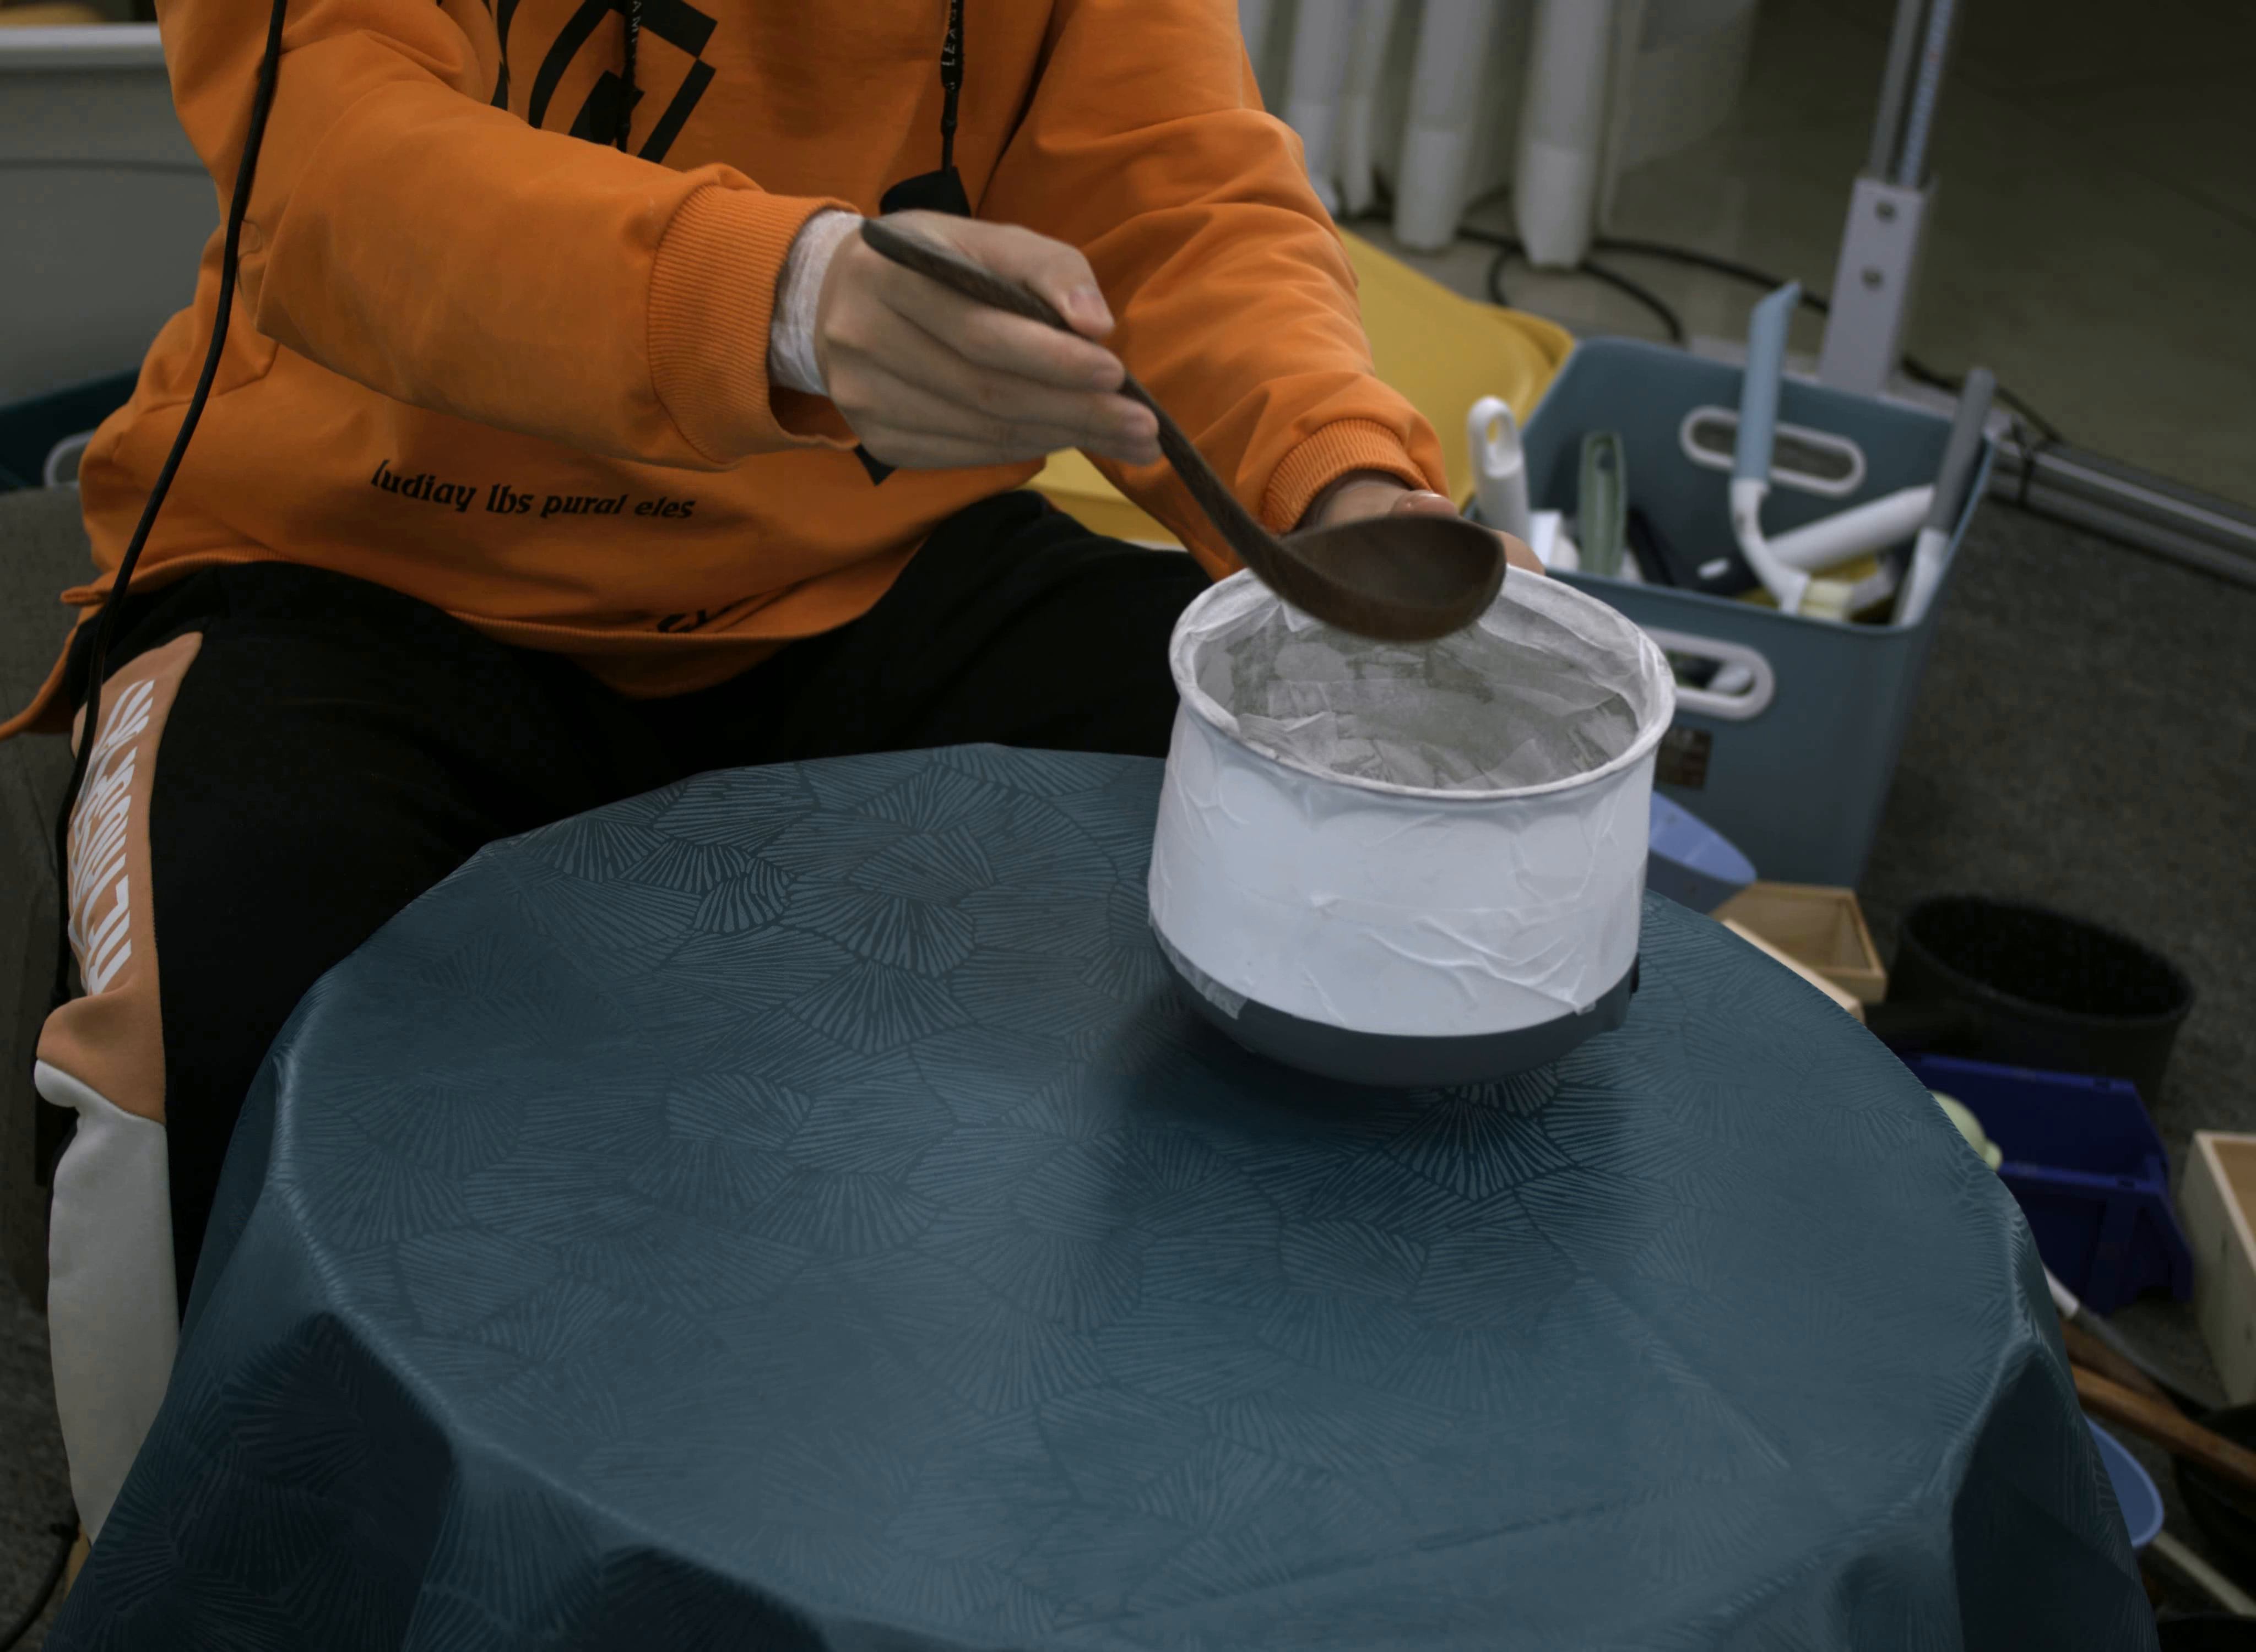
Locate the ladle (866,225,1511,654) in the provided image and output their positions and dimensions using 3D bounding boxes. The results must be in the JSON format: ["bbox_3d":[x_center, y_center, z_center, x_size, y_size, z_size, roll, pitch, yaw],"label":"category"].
[{"bbox_3d":[0.026,-0.140,1.761,0.271,0.071,0.076,41,-1,-35],"label":"ladle"}]

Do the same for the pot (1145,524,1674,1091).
[{"bbox_3d":[0.098,-0.015,1.898,0.178,0.136,0.235,6,30,2],"label":"pot"}]
